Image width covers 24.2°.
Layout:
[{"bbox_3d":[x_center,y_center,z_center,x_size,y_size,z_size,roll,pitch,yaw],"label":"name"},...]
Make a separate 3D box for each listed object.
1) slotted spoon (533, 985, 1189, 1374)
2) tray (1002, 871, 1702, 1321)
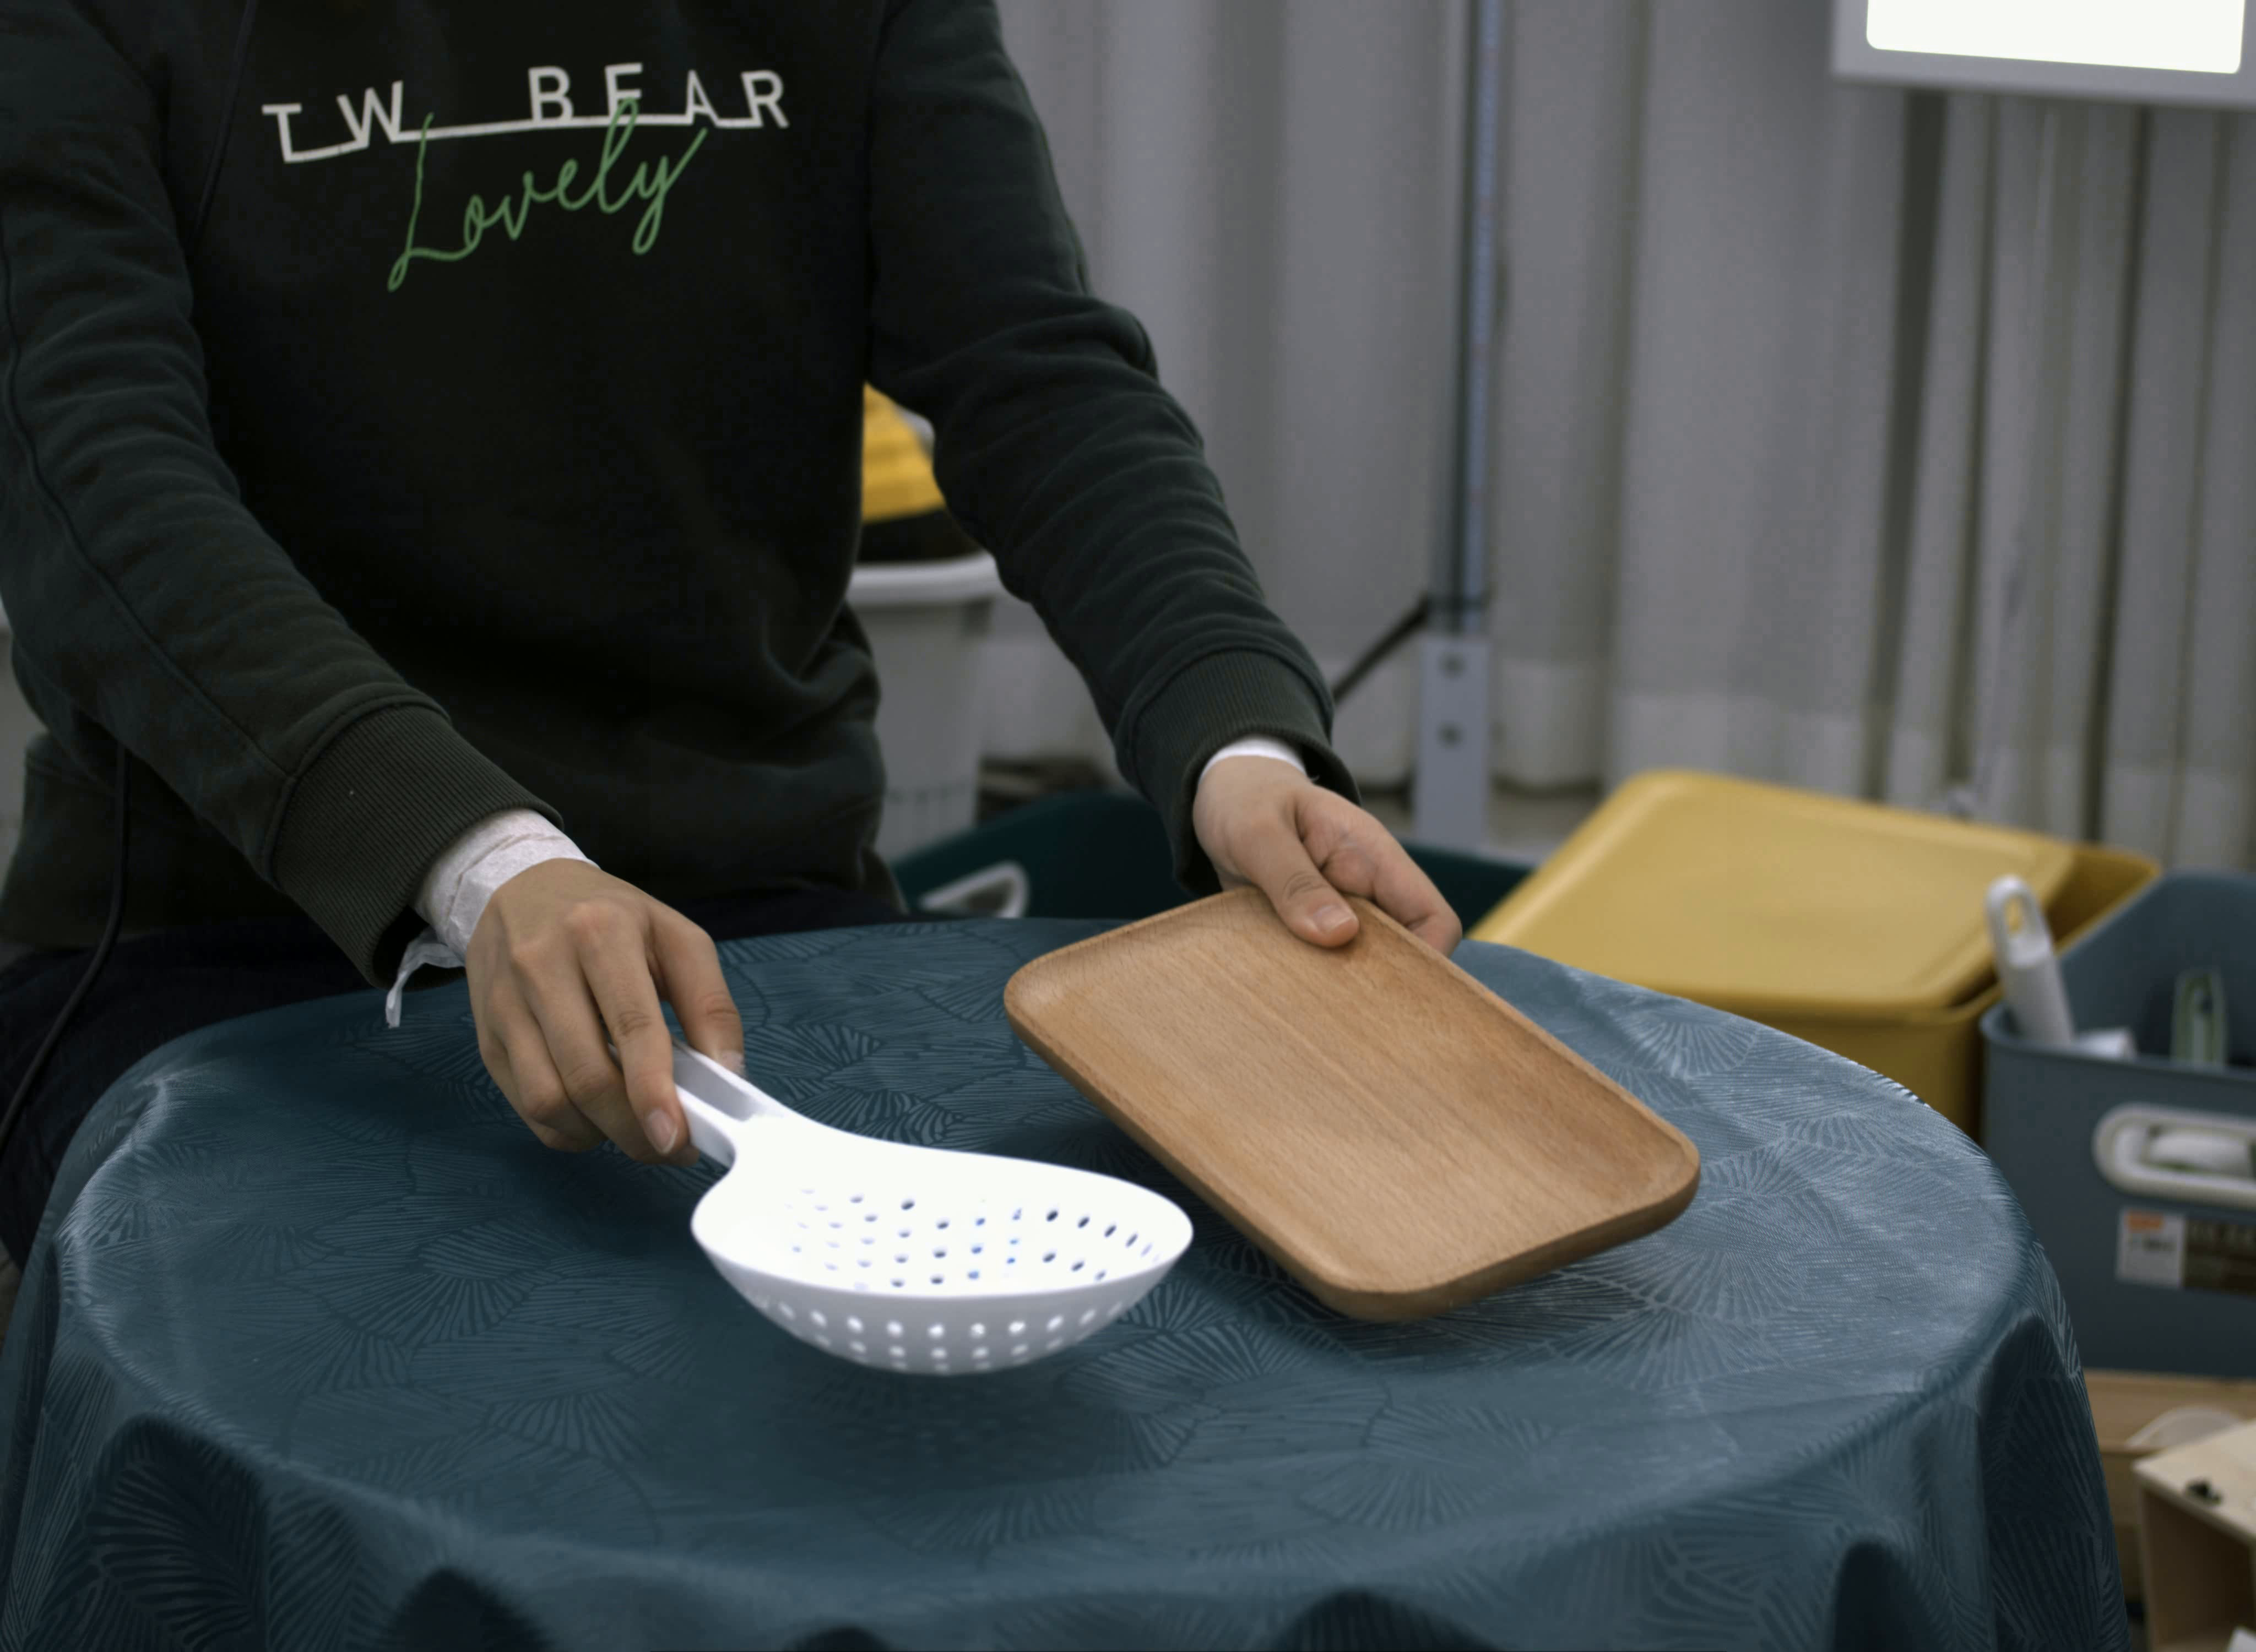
[{"bbox_3d":[-0.100,0.093,1.522,0.137,0.046,0.345,-3,18,-27],"label":"slotted spoon"},{"bbox_3d":[0.064,0.079,1.604,0.131,0.023,0.247,-16,28,-23],"label":"tray"}]
